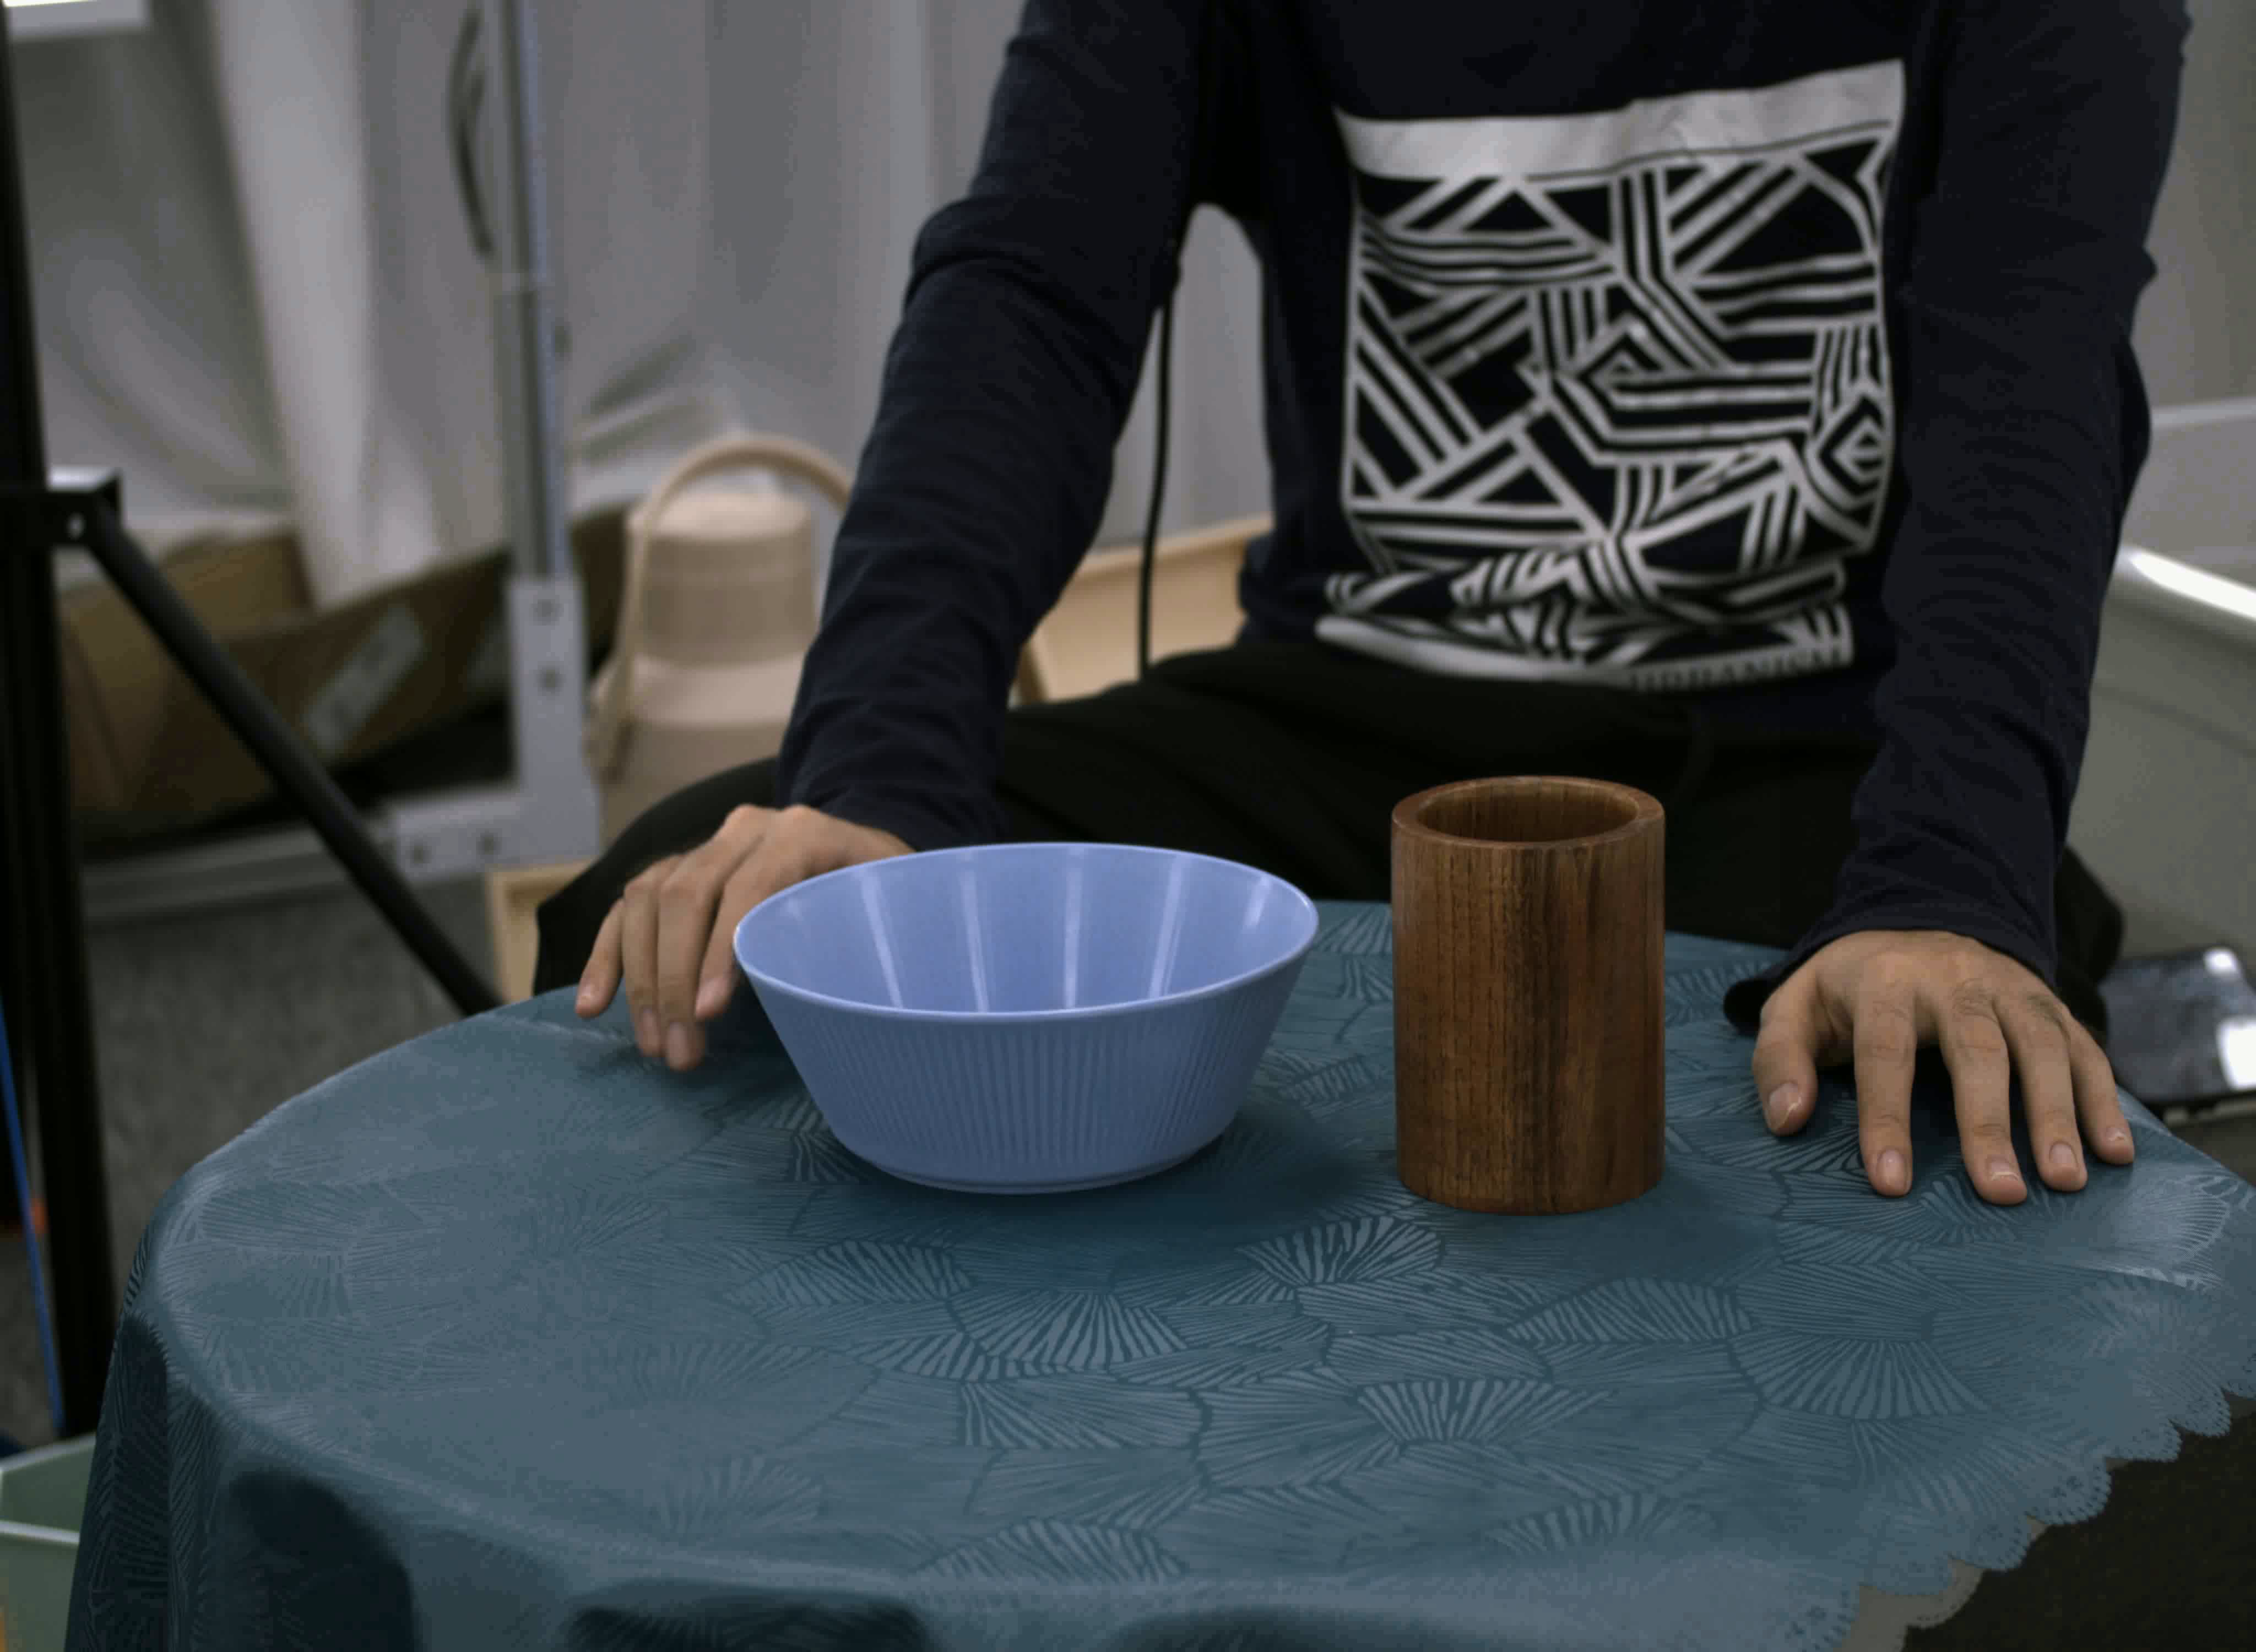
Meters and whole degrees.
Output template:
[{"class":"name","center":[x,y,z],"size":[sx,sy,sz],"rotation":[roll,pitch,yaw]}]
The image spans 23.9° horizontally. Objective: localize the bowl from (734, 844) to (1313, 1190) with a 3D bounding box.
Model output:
[{"class":"bowl","center":[-0.031,0.060,1.606],"size":[0.175,0.070,0.177],"rotation":[-2,15,-1]}]

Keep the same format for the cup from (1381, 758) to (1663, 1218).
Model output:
[{"class":"cup","center":[0.114,0.046,1.548],"size":[0.087,0.118,0.088],"rotation":[-1,13,-1]}]
